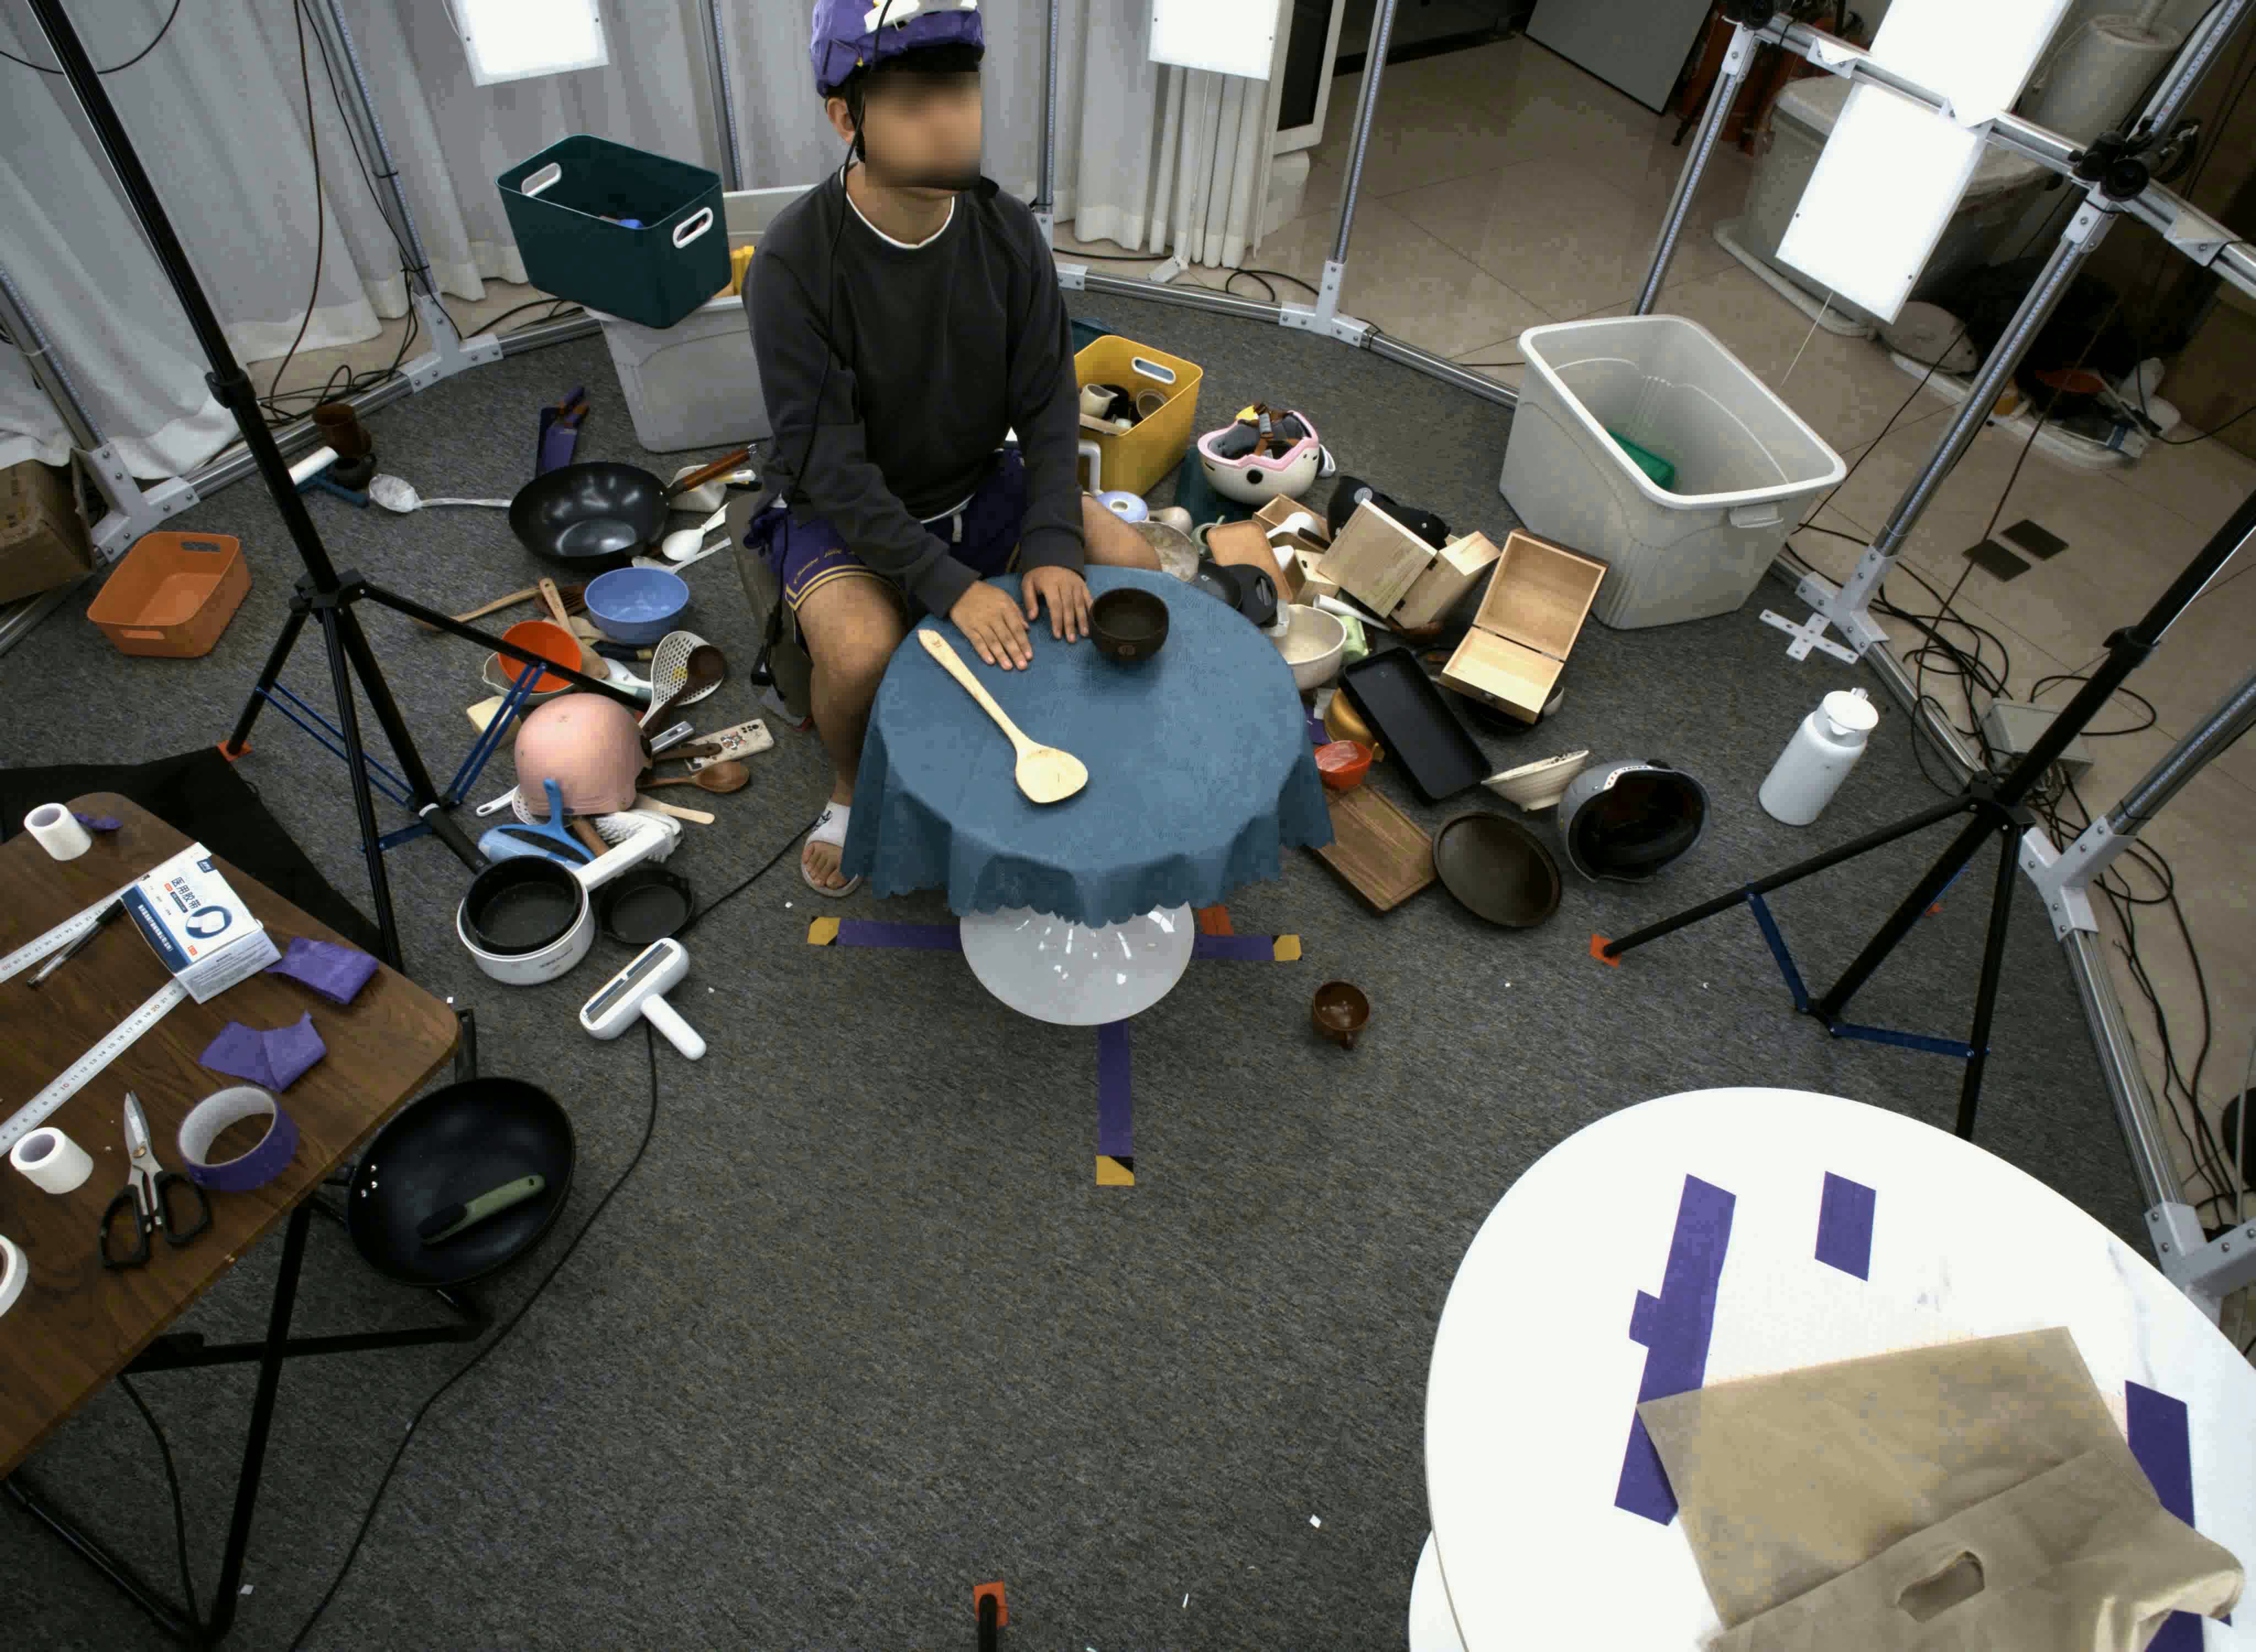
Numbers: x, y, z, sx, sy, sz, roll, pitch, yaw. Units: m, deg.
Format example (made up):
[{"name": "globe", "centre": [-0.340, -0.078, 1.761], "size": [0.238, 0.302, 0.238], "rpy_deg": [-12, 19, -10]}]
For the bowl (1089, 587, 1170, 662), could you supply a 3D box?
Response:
[{"name": "bowl", "centre": [0.001, -0.285, 1.868], "size": [0.118, 0.068, 0.121], "rpy_deg": [1, 47, -2]}]

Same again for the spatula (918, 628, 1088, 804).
[{"name": "spatula", "centre": [-0.193, -0.162, 1.782], "size": [0.096, 0.018, 0.398], "rpy_deg": [-25, 55, -25]}]
